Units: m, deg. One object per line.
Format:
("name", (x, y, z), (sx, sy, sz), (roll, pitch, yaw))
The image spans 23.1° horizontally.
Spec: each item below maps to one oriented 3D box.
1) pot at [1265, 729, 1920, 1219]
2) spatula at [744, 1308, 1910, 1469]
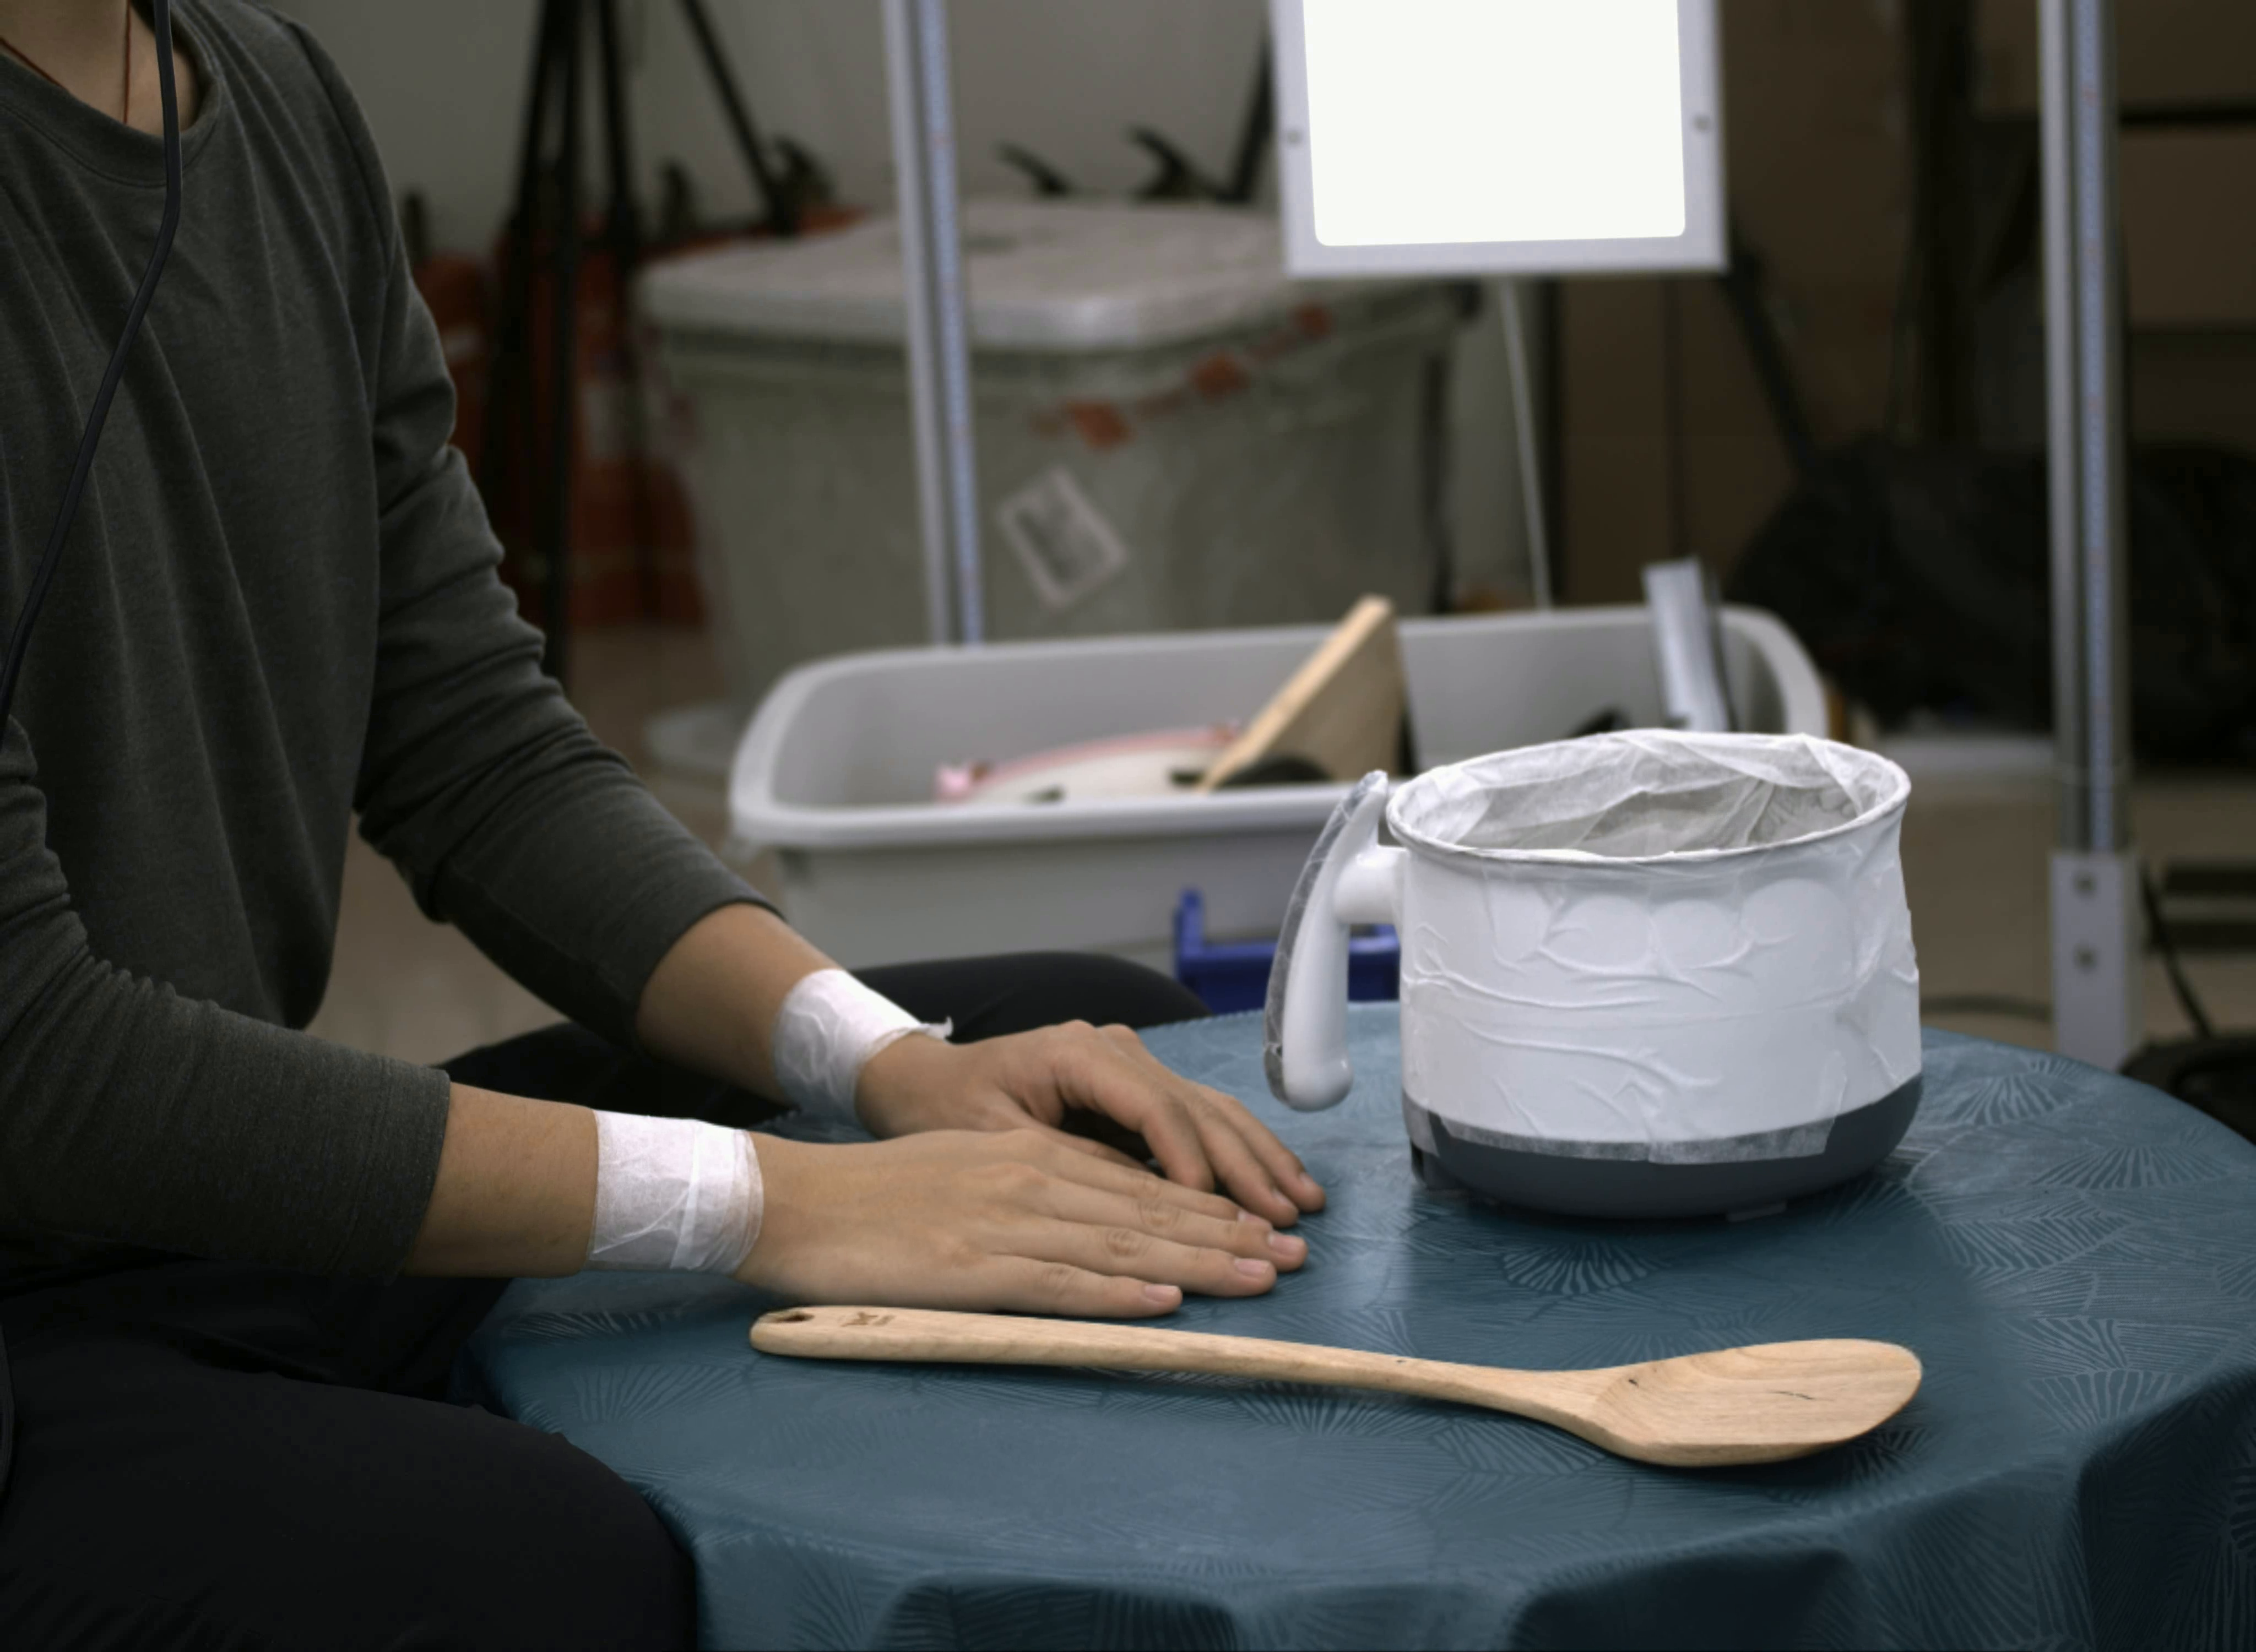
("pot", (0.155, 0.048, 1.874), (0.237, 0.137, 0.175), (2, 15, 25))
("spatula", (0.050, 0.167, 1.683), (0.397, 0.018, 0.094), (2, 14, 28))
